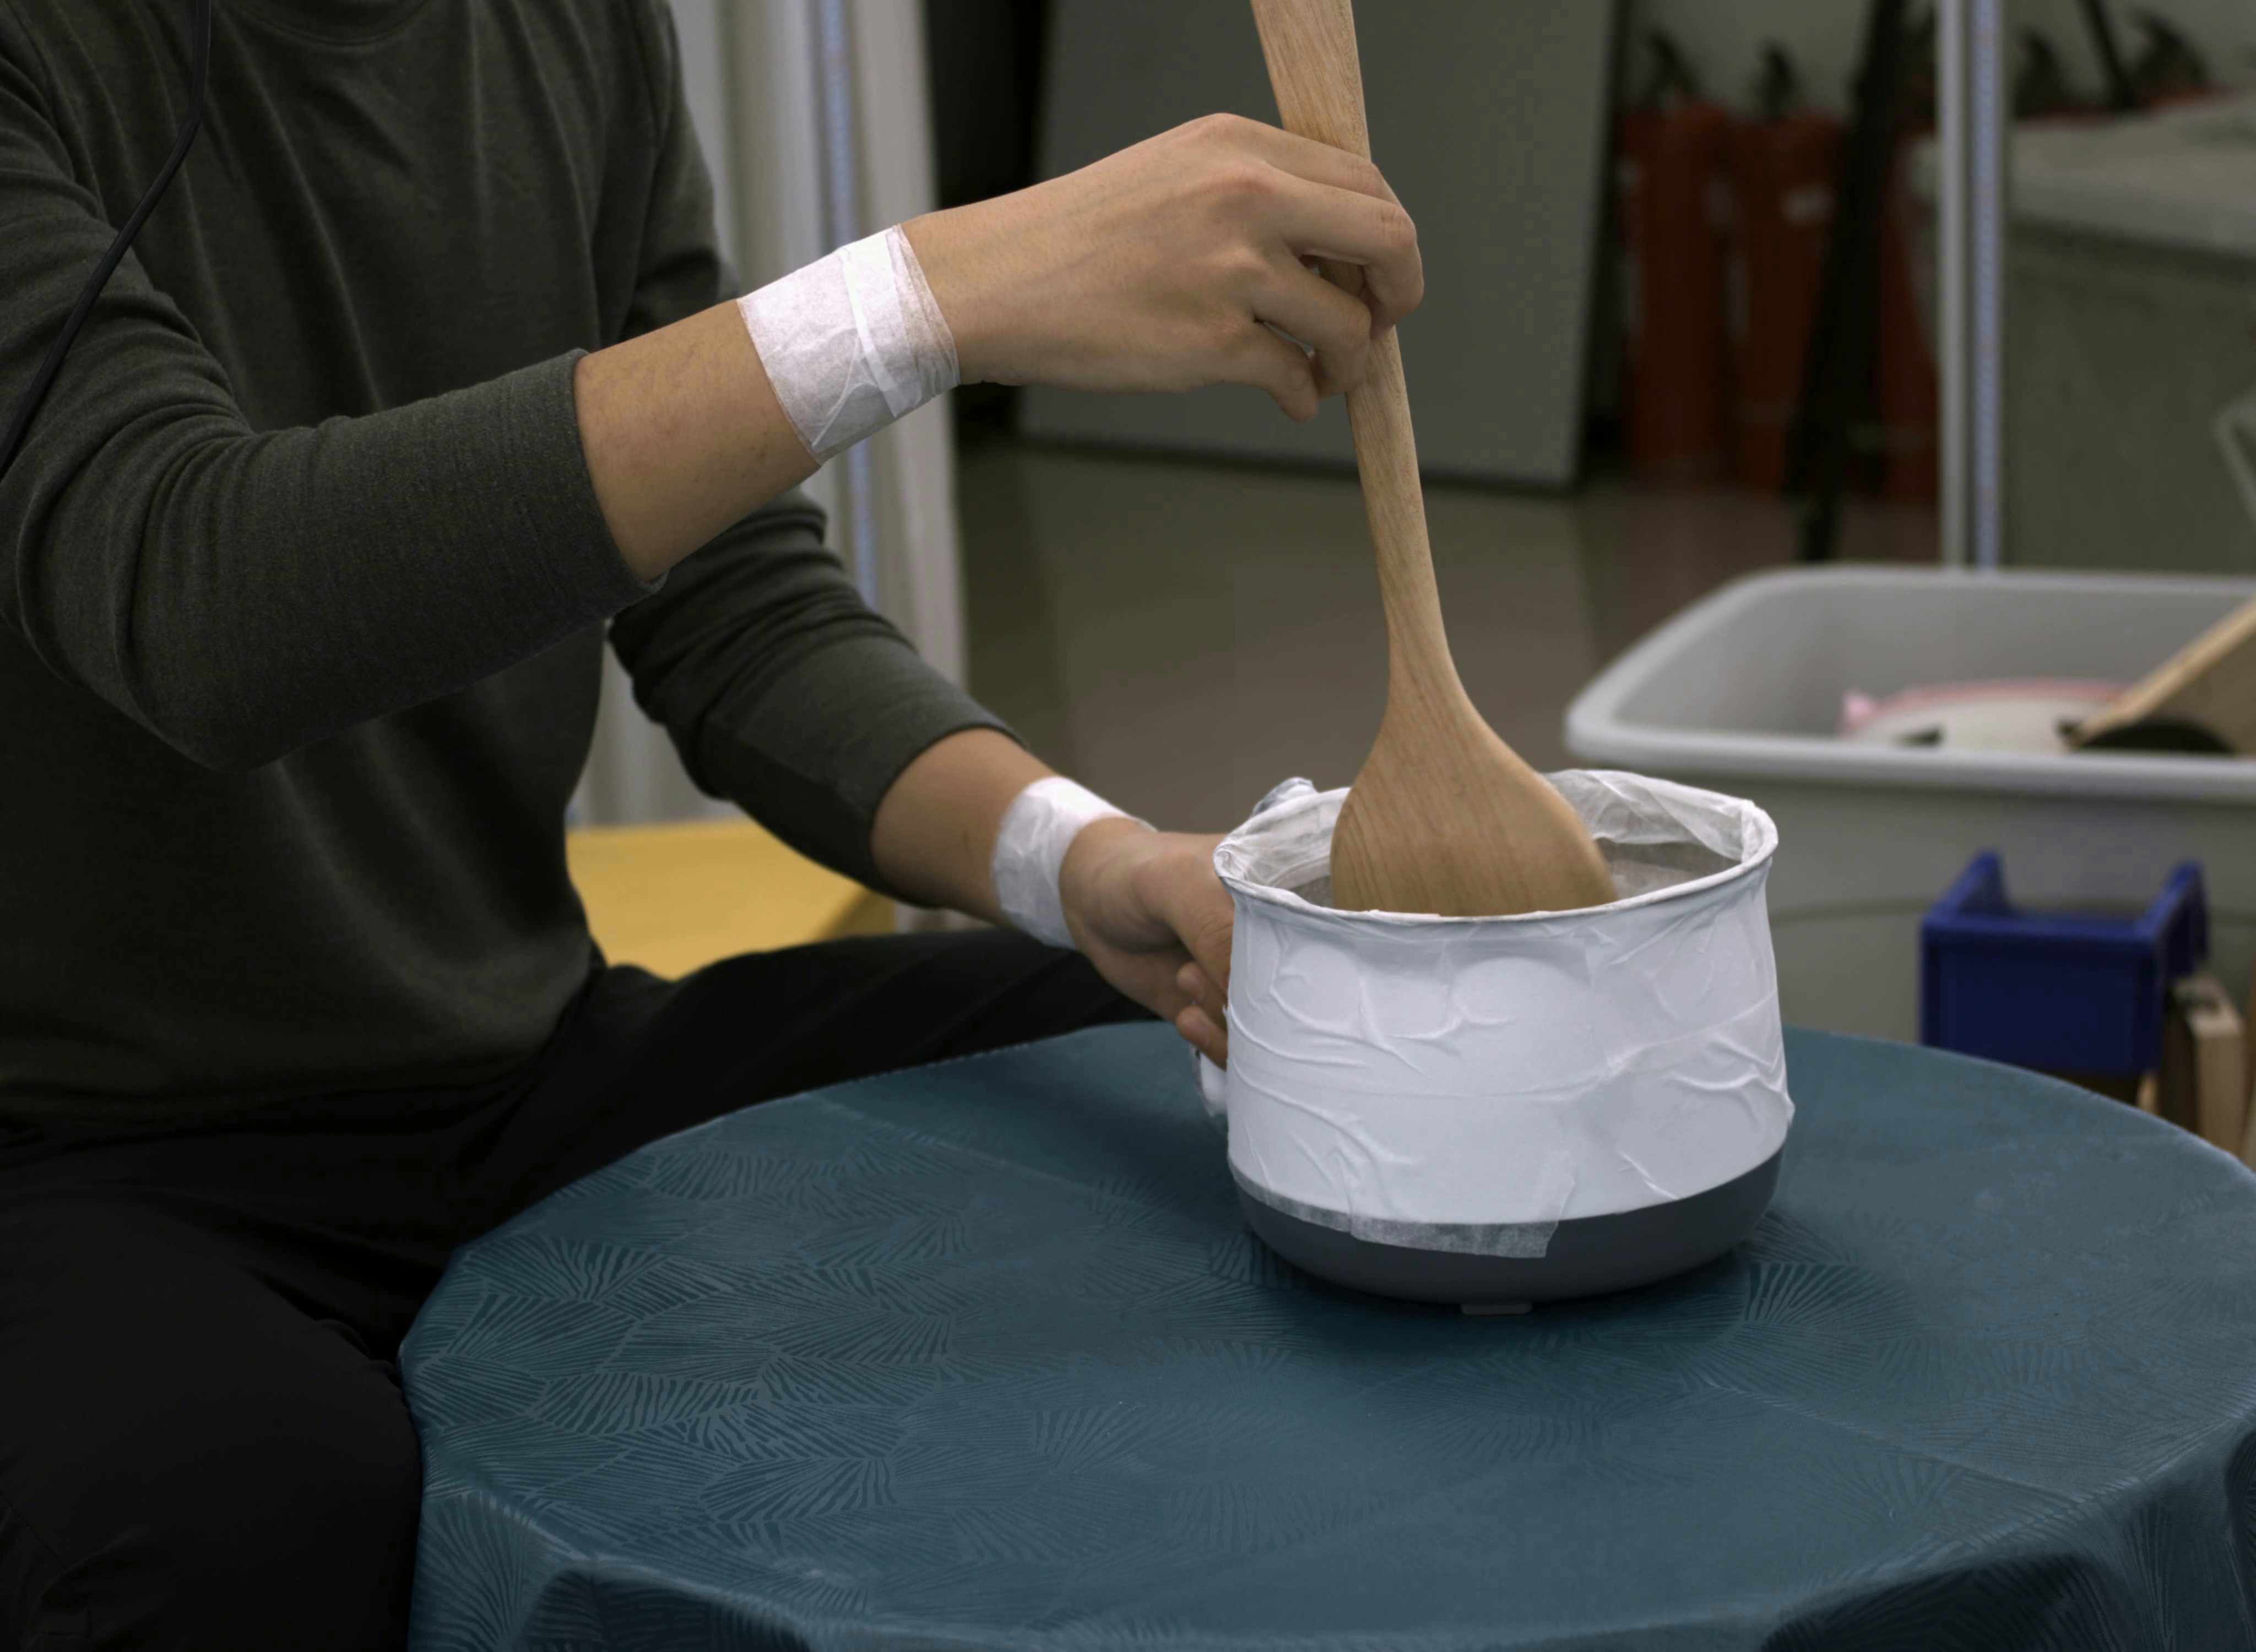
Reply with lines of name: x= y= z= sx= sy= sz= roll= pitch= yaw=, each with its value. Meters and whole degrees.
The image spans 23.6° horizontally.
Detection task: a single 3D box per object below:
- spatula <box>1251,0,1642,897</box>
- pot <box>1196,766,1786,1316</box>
spatula: x=0.082 y=-0.122 z=1.635 sx=0.095 sy=0.394 sz=0.018 roll=-8 pitch=17 yaw=15
pot: x=0.100 y=0.061 z=1.703 sx=0.175 sy=0.138 sz=0.236 roll=-13 pitch=16 yaw=-36
